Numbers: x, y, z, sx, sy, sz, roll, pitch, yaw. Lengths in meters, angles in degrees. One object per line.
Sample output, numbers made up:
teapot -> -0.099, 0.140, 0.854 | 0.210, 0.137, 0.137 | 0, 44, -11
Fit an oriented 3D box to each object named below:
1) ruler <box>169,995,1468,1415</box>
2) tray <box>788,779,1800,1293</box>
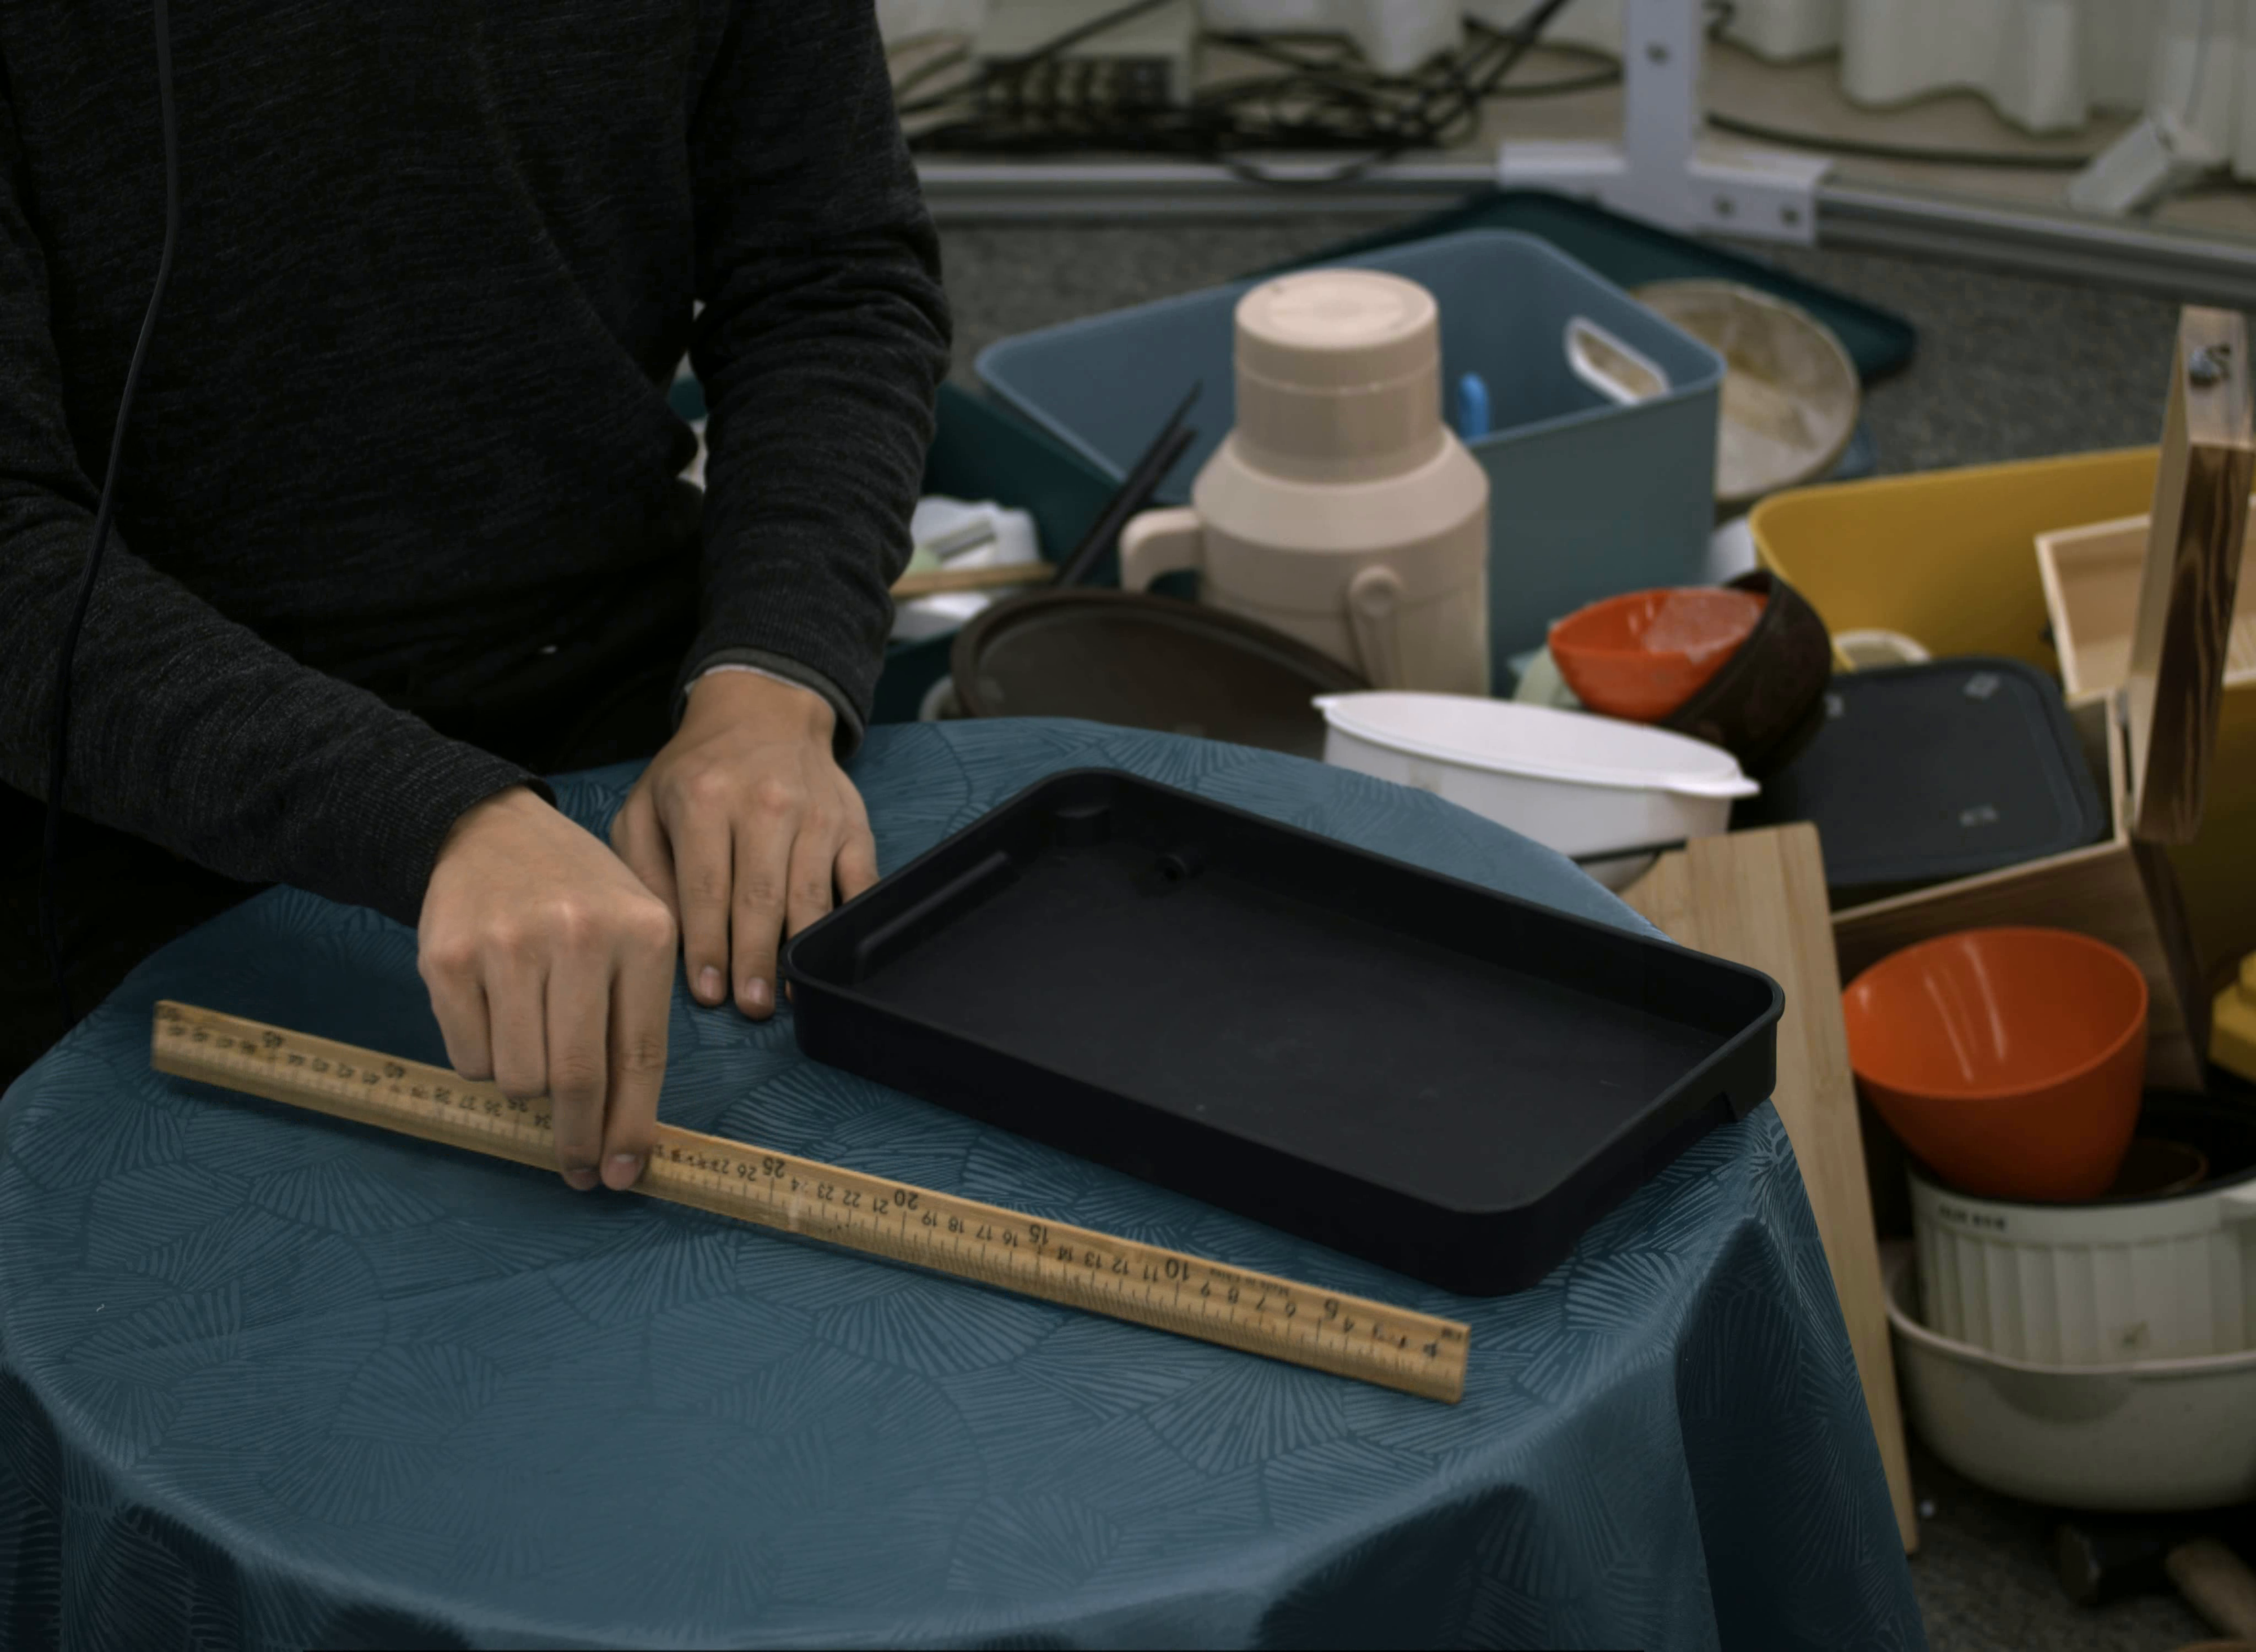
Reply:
ruler -> -0.114, 0.120, 1.842 | 0.497, 0.027, 0.006 | 13, 11, 26
tray -> 0.055, 0.067, 1.924 | 0.316, 0.036, 0.187 | 16, 32, 33
